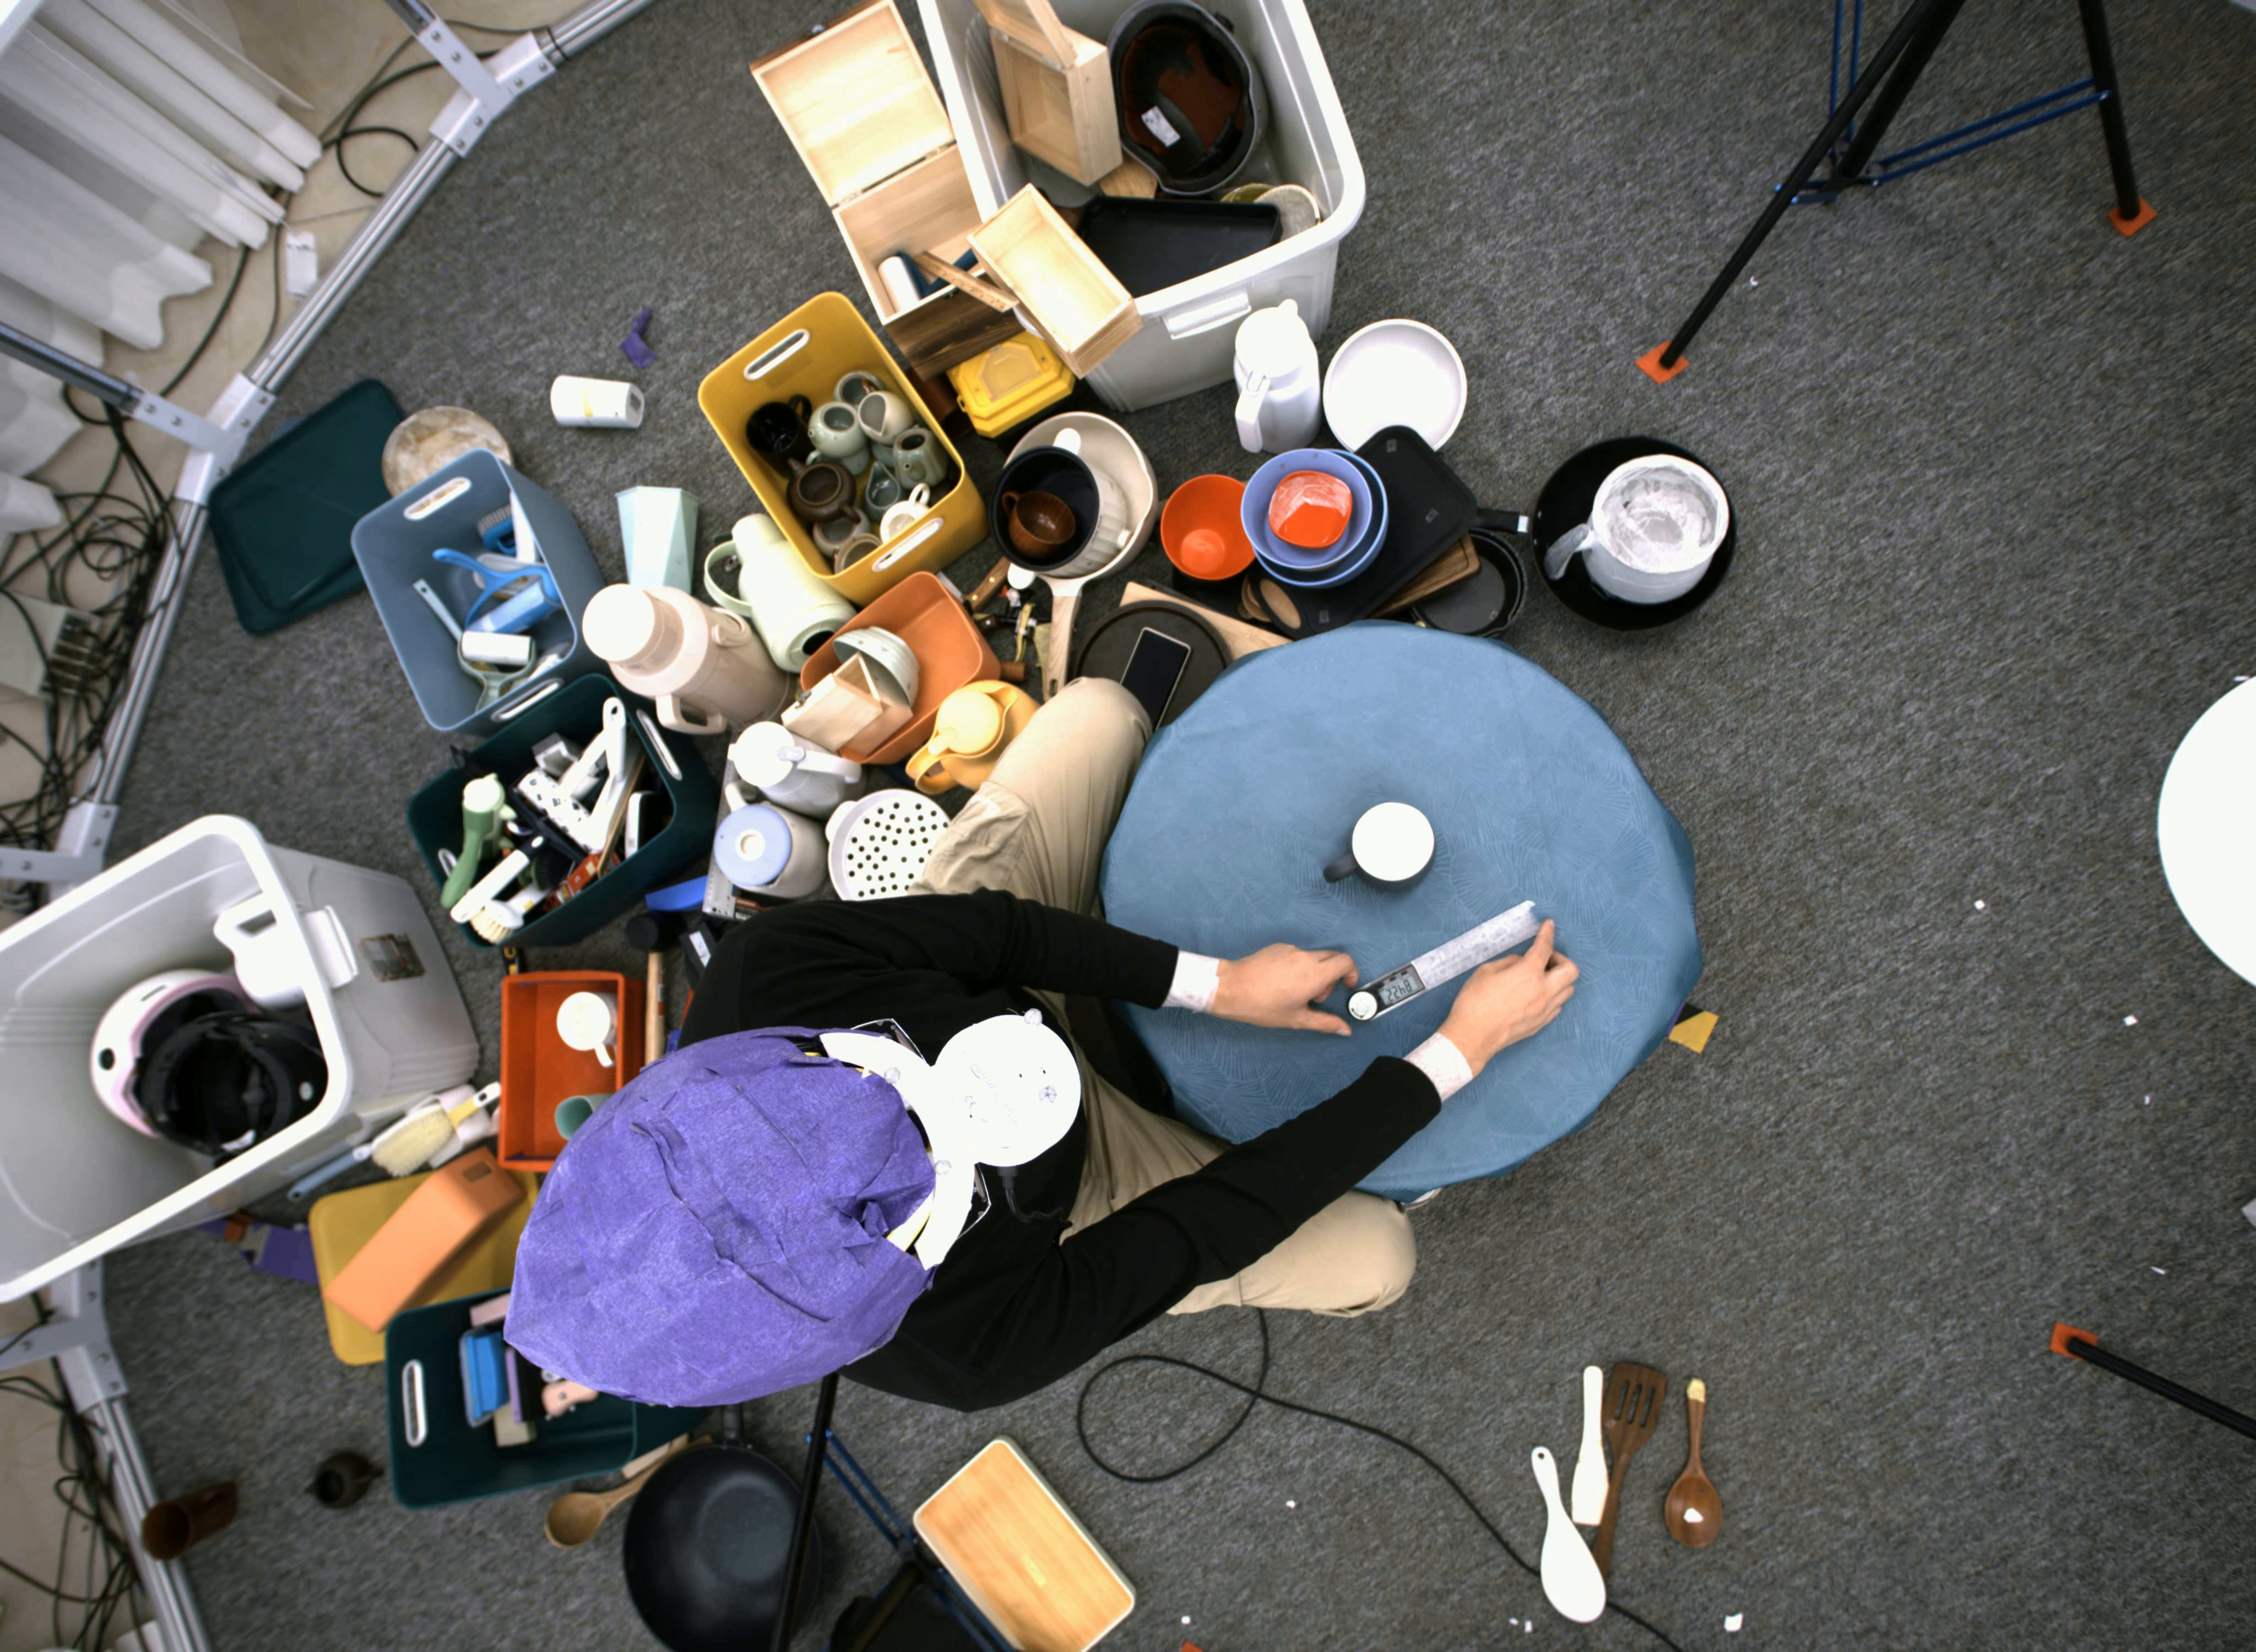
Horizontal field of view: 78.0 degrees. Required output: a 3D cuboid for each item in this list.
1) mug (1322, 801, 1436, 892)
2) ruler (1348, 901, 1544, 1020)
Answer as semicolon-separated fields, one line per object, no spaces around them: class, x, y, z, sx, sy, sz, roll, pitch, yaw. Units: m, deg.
mug;0.257;0.024;1.418;0.124;0.090;0.093;-24;81;7
ruler;0.328;0.142;1.434;0.219;0.024;0.038;-28;89;9
